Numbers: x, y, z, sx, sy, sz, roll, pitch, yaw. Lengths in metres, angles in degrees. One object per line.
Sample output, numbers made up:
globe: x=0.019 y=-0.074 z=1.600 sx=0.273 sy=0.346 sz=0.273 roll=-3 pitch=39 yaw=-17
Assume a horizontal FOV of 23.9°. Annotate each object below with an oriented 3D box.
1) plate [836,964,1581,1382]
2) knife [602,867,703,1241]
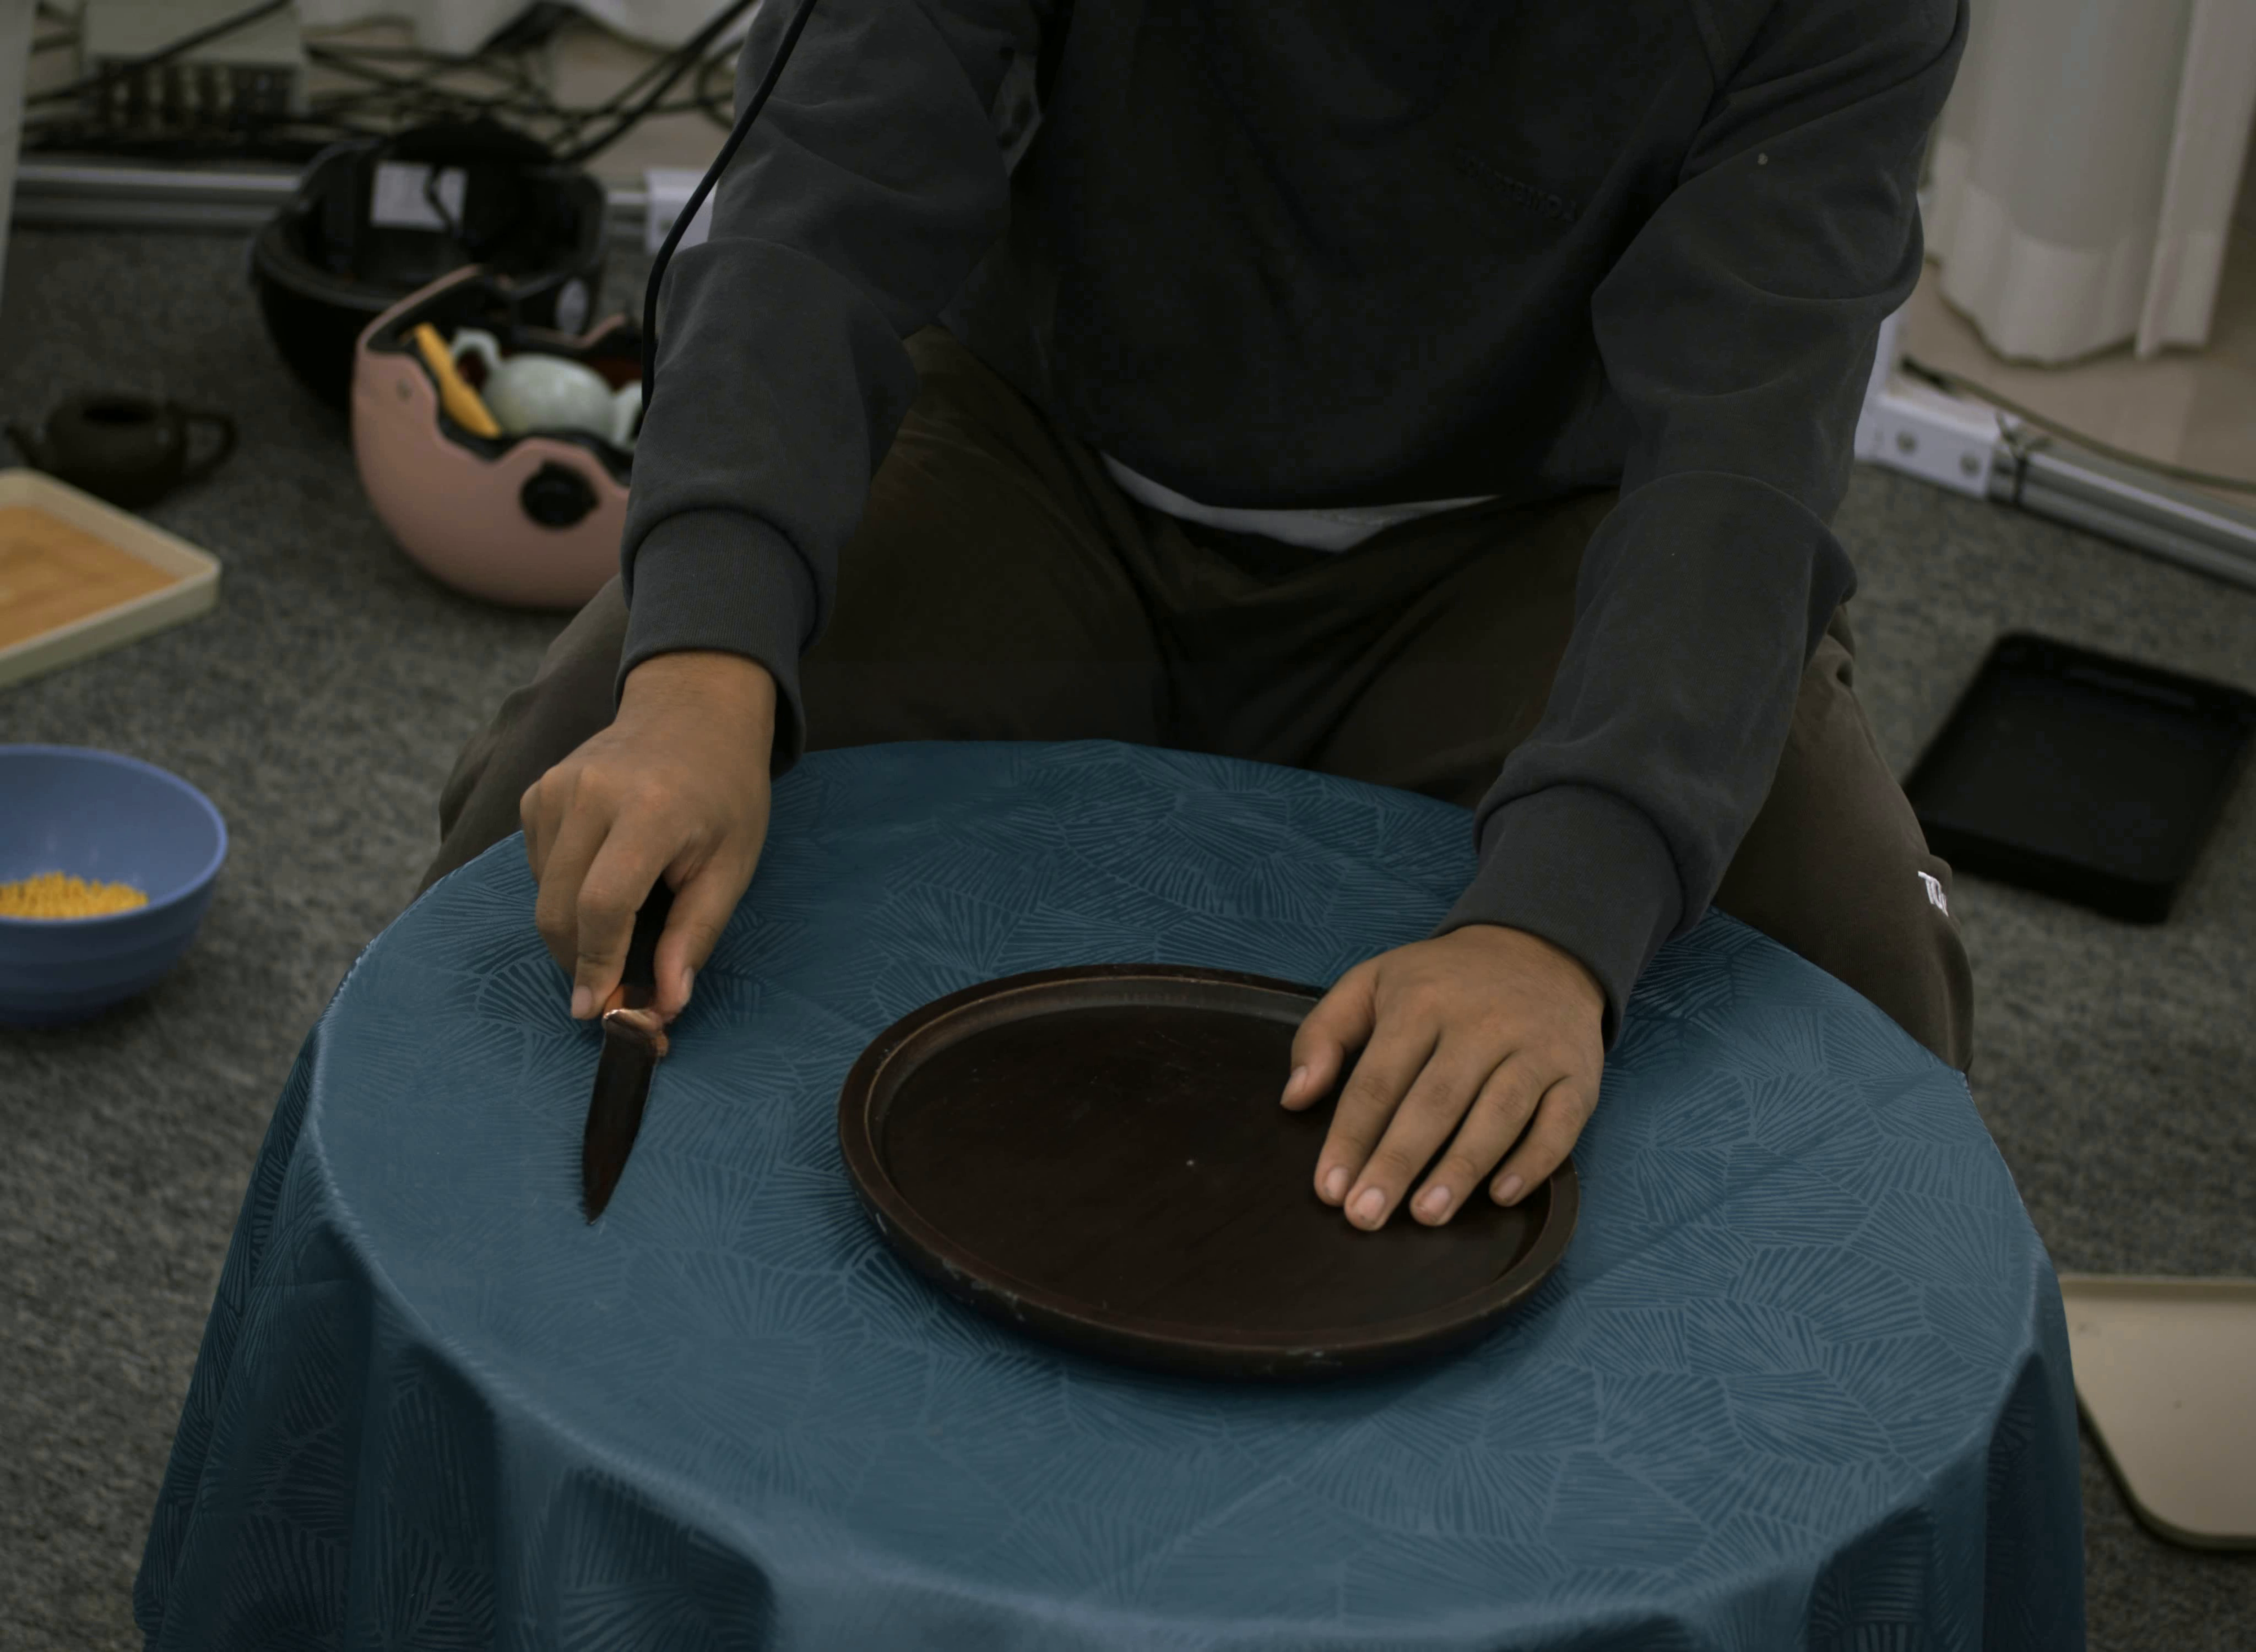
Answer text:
plate: x=0.027 y=0.116 z=1.803 sx=0.254 sy=0.029 sz=0.256 roll=4 pitch=26 yaw=-2
knife: x=-0.167 y=0.076 z=1.843 sx=0.026 sy=0.017 sz=0.227 roll=31 pitch=27 yaw=-14
